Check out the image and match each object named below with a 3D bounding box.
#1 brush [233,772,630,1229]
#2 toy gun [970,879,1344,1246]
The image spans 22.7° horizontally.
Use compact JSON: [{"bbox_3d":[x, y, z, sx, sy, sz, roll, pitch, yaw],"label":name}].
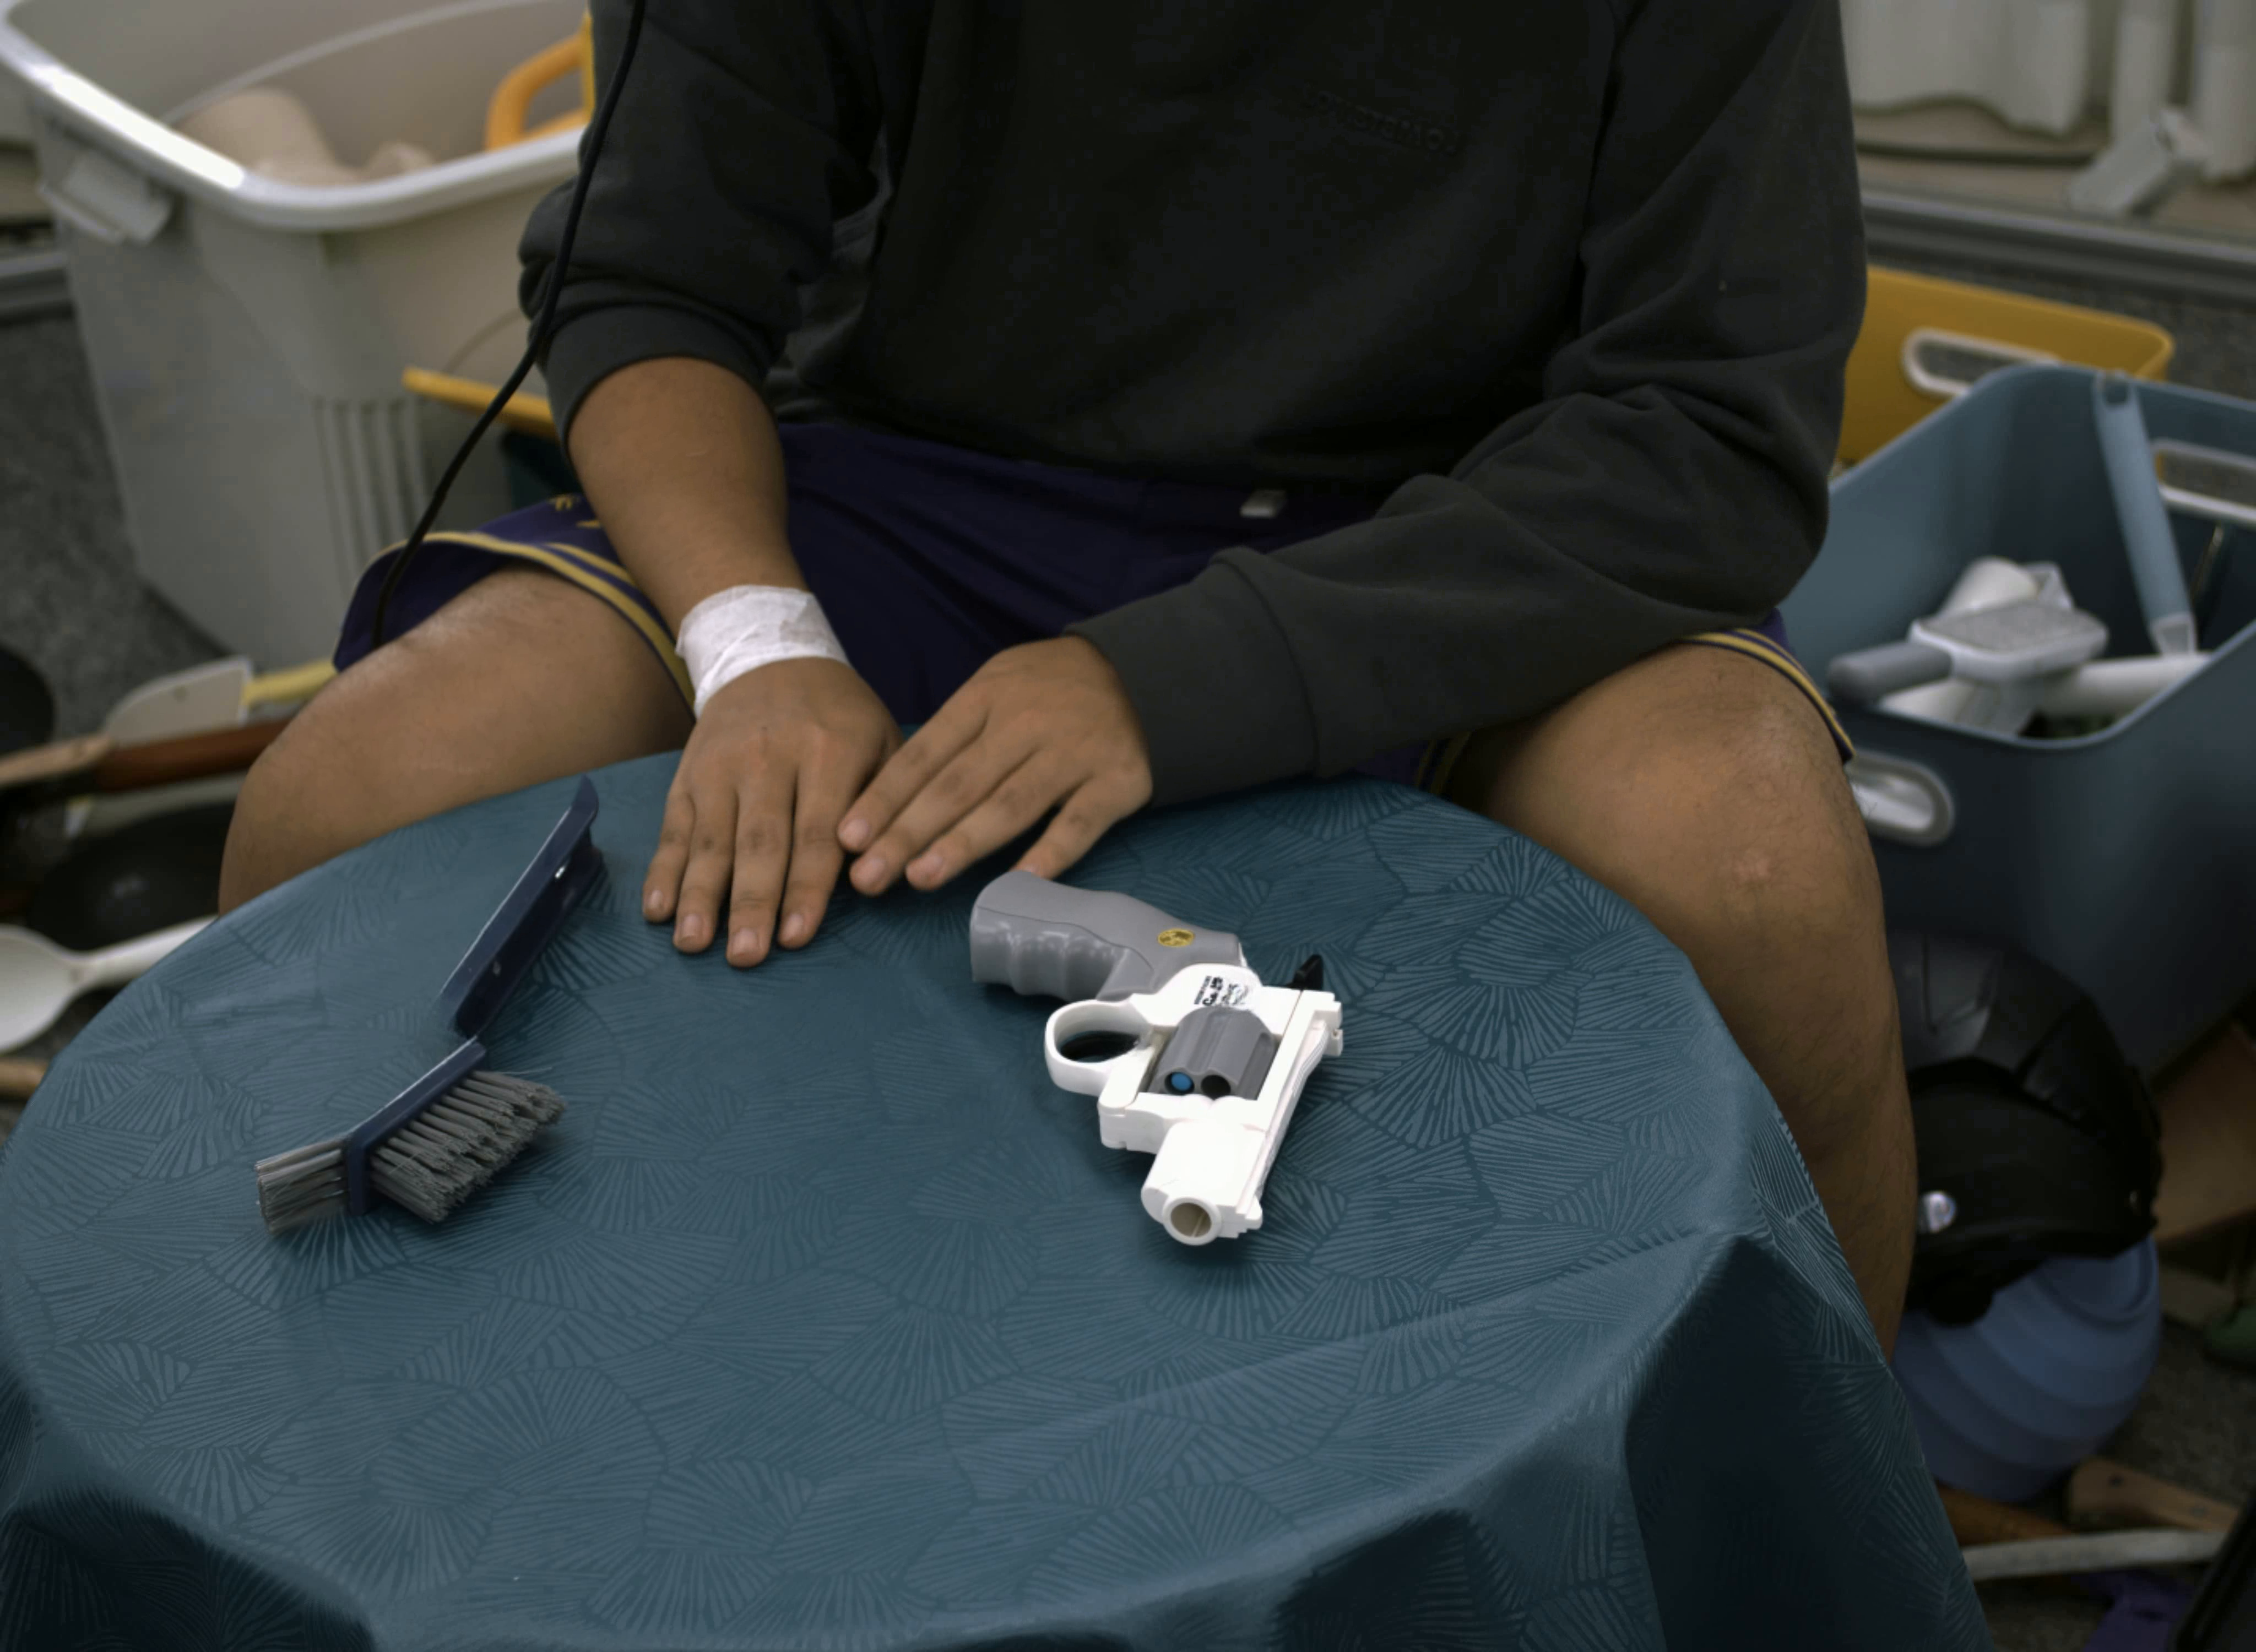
[{"bbox_3d":[-0.235,0.059,1.972,0.095,0.033,0.278,1,28,7],"label":"brush"},{"bbox_3d":[-0.001,0.077,1.907,0.140,0.038,0.212,3,27,13],"label":"toy gun"}]
